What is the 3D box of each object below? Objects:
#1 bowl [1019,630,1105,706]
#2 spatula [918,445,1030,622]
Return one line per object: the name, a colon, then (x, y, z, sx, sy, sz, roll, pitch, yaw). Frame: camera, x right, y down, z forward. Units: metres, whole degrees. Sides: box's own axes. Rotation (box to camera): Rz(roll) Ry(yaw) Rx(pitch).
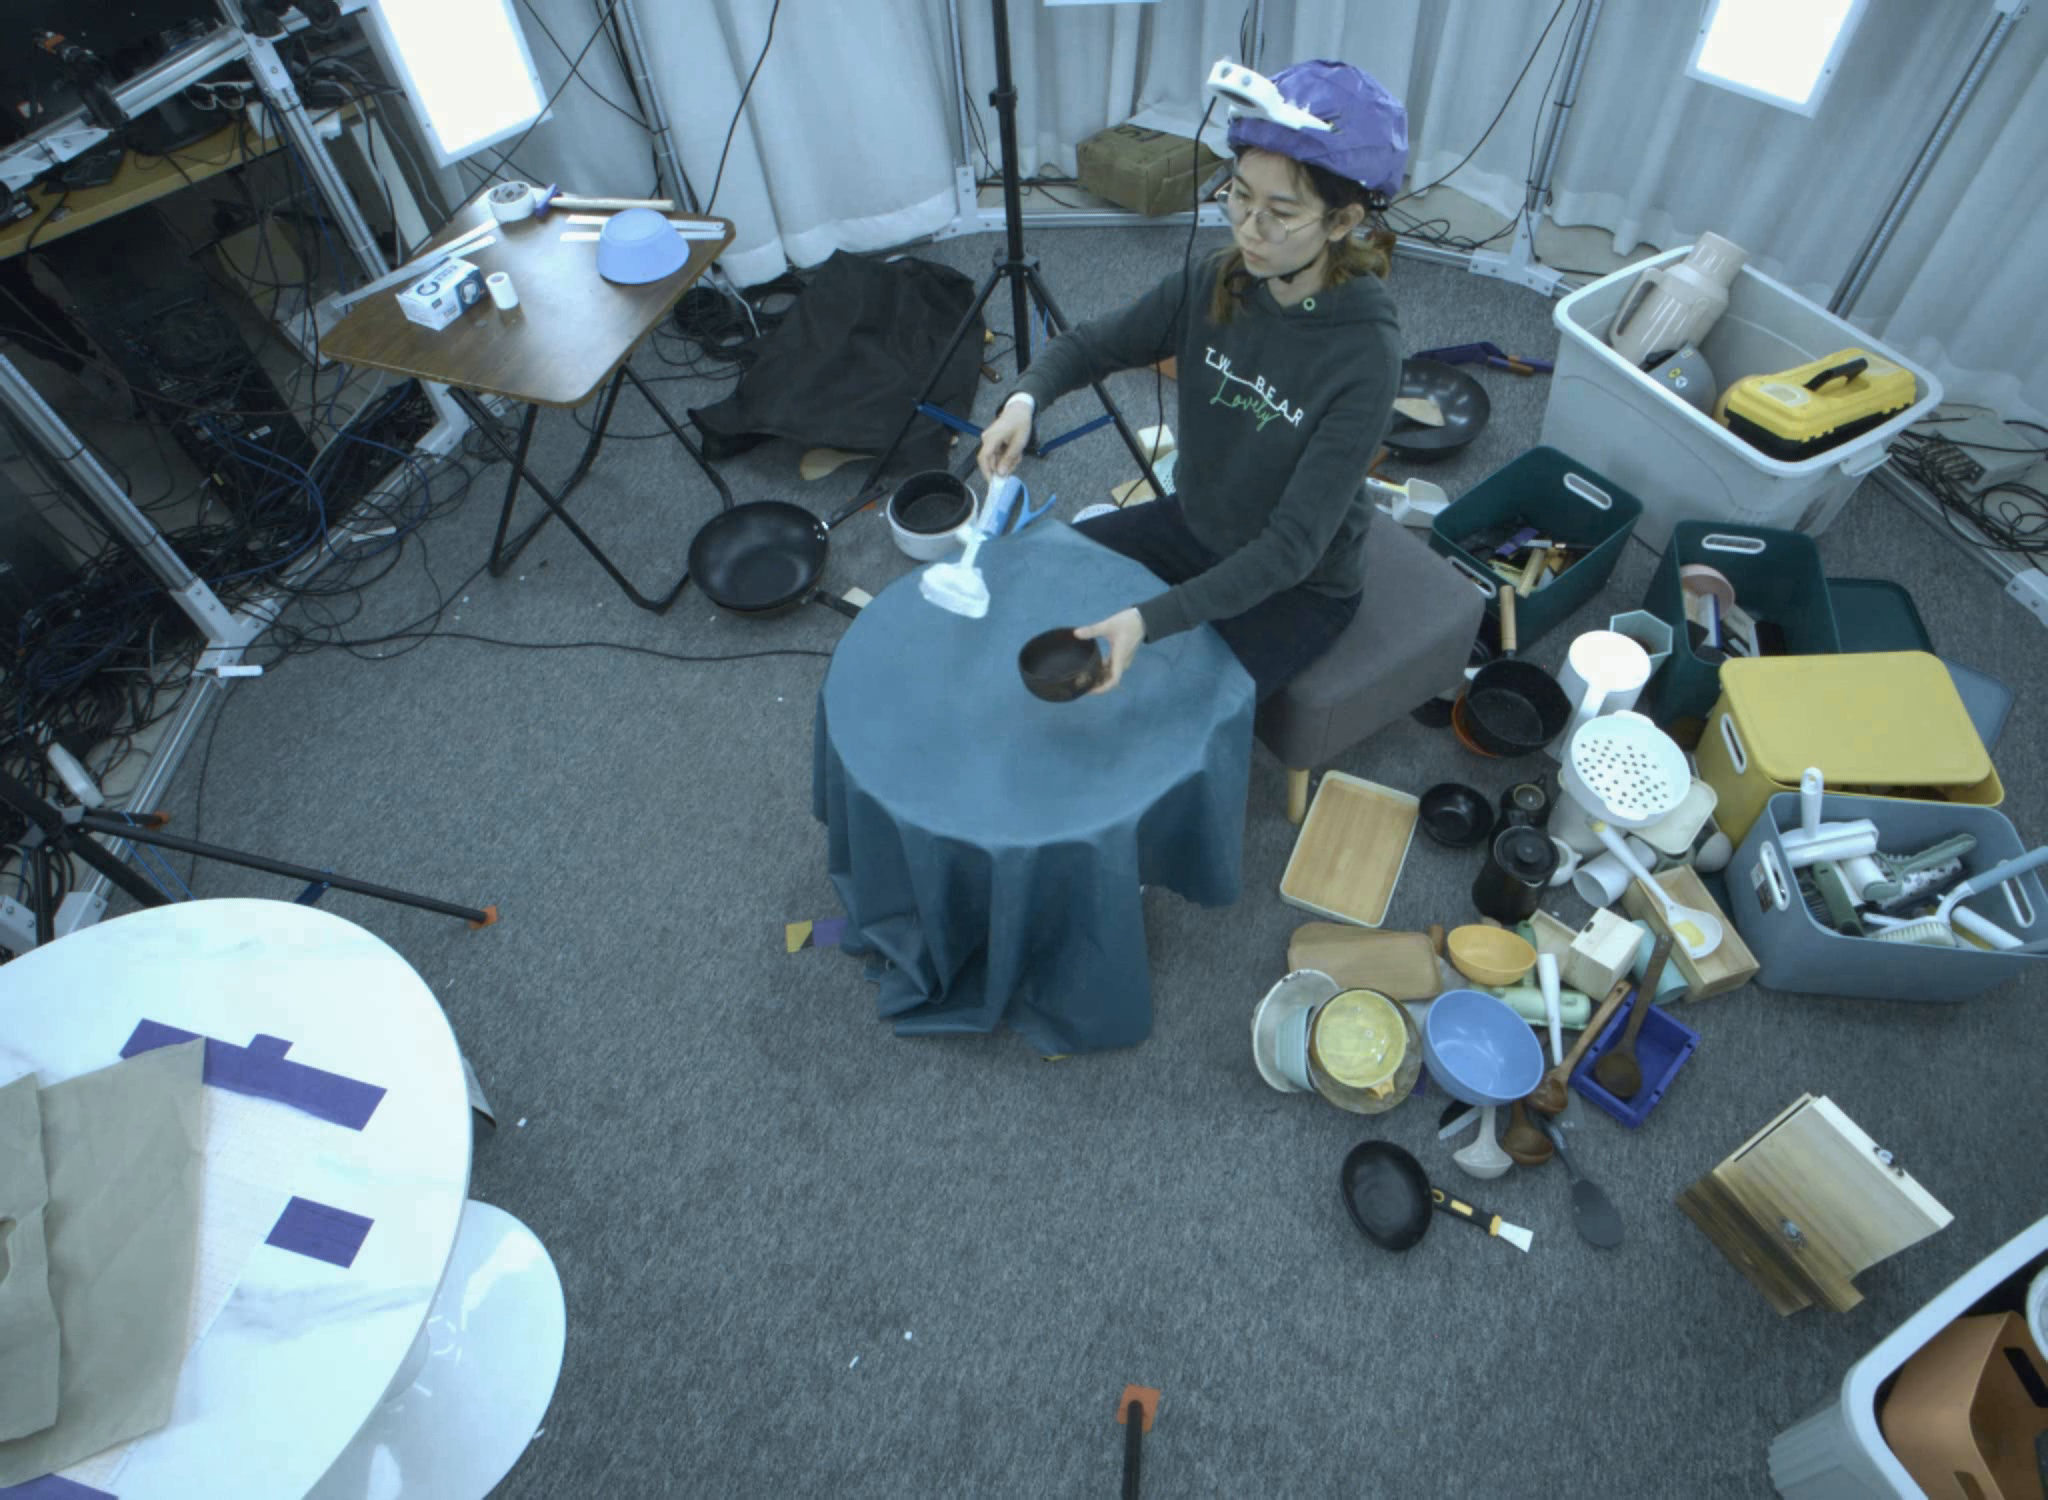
bowl: (0.056, -0.106, 1.726, 0.117, 0.071, 0.117, -7, 42, 8)
spatula: (-0.054, -0.327, 1.755, 0.099, 0.044, 0.364, 23, 63, -6)
